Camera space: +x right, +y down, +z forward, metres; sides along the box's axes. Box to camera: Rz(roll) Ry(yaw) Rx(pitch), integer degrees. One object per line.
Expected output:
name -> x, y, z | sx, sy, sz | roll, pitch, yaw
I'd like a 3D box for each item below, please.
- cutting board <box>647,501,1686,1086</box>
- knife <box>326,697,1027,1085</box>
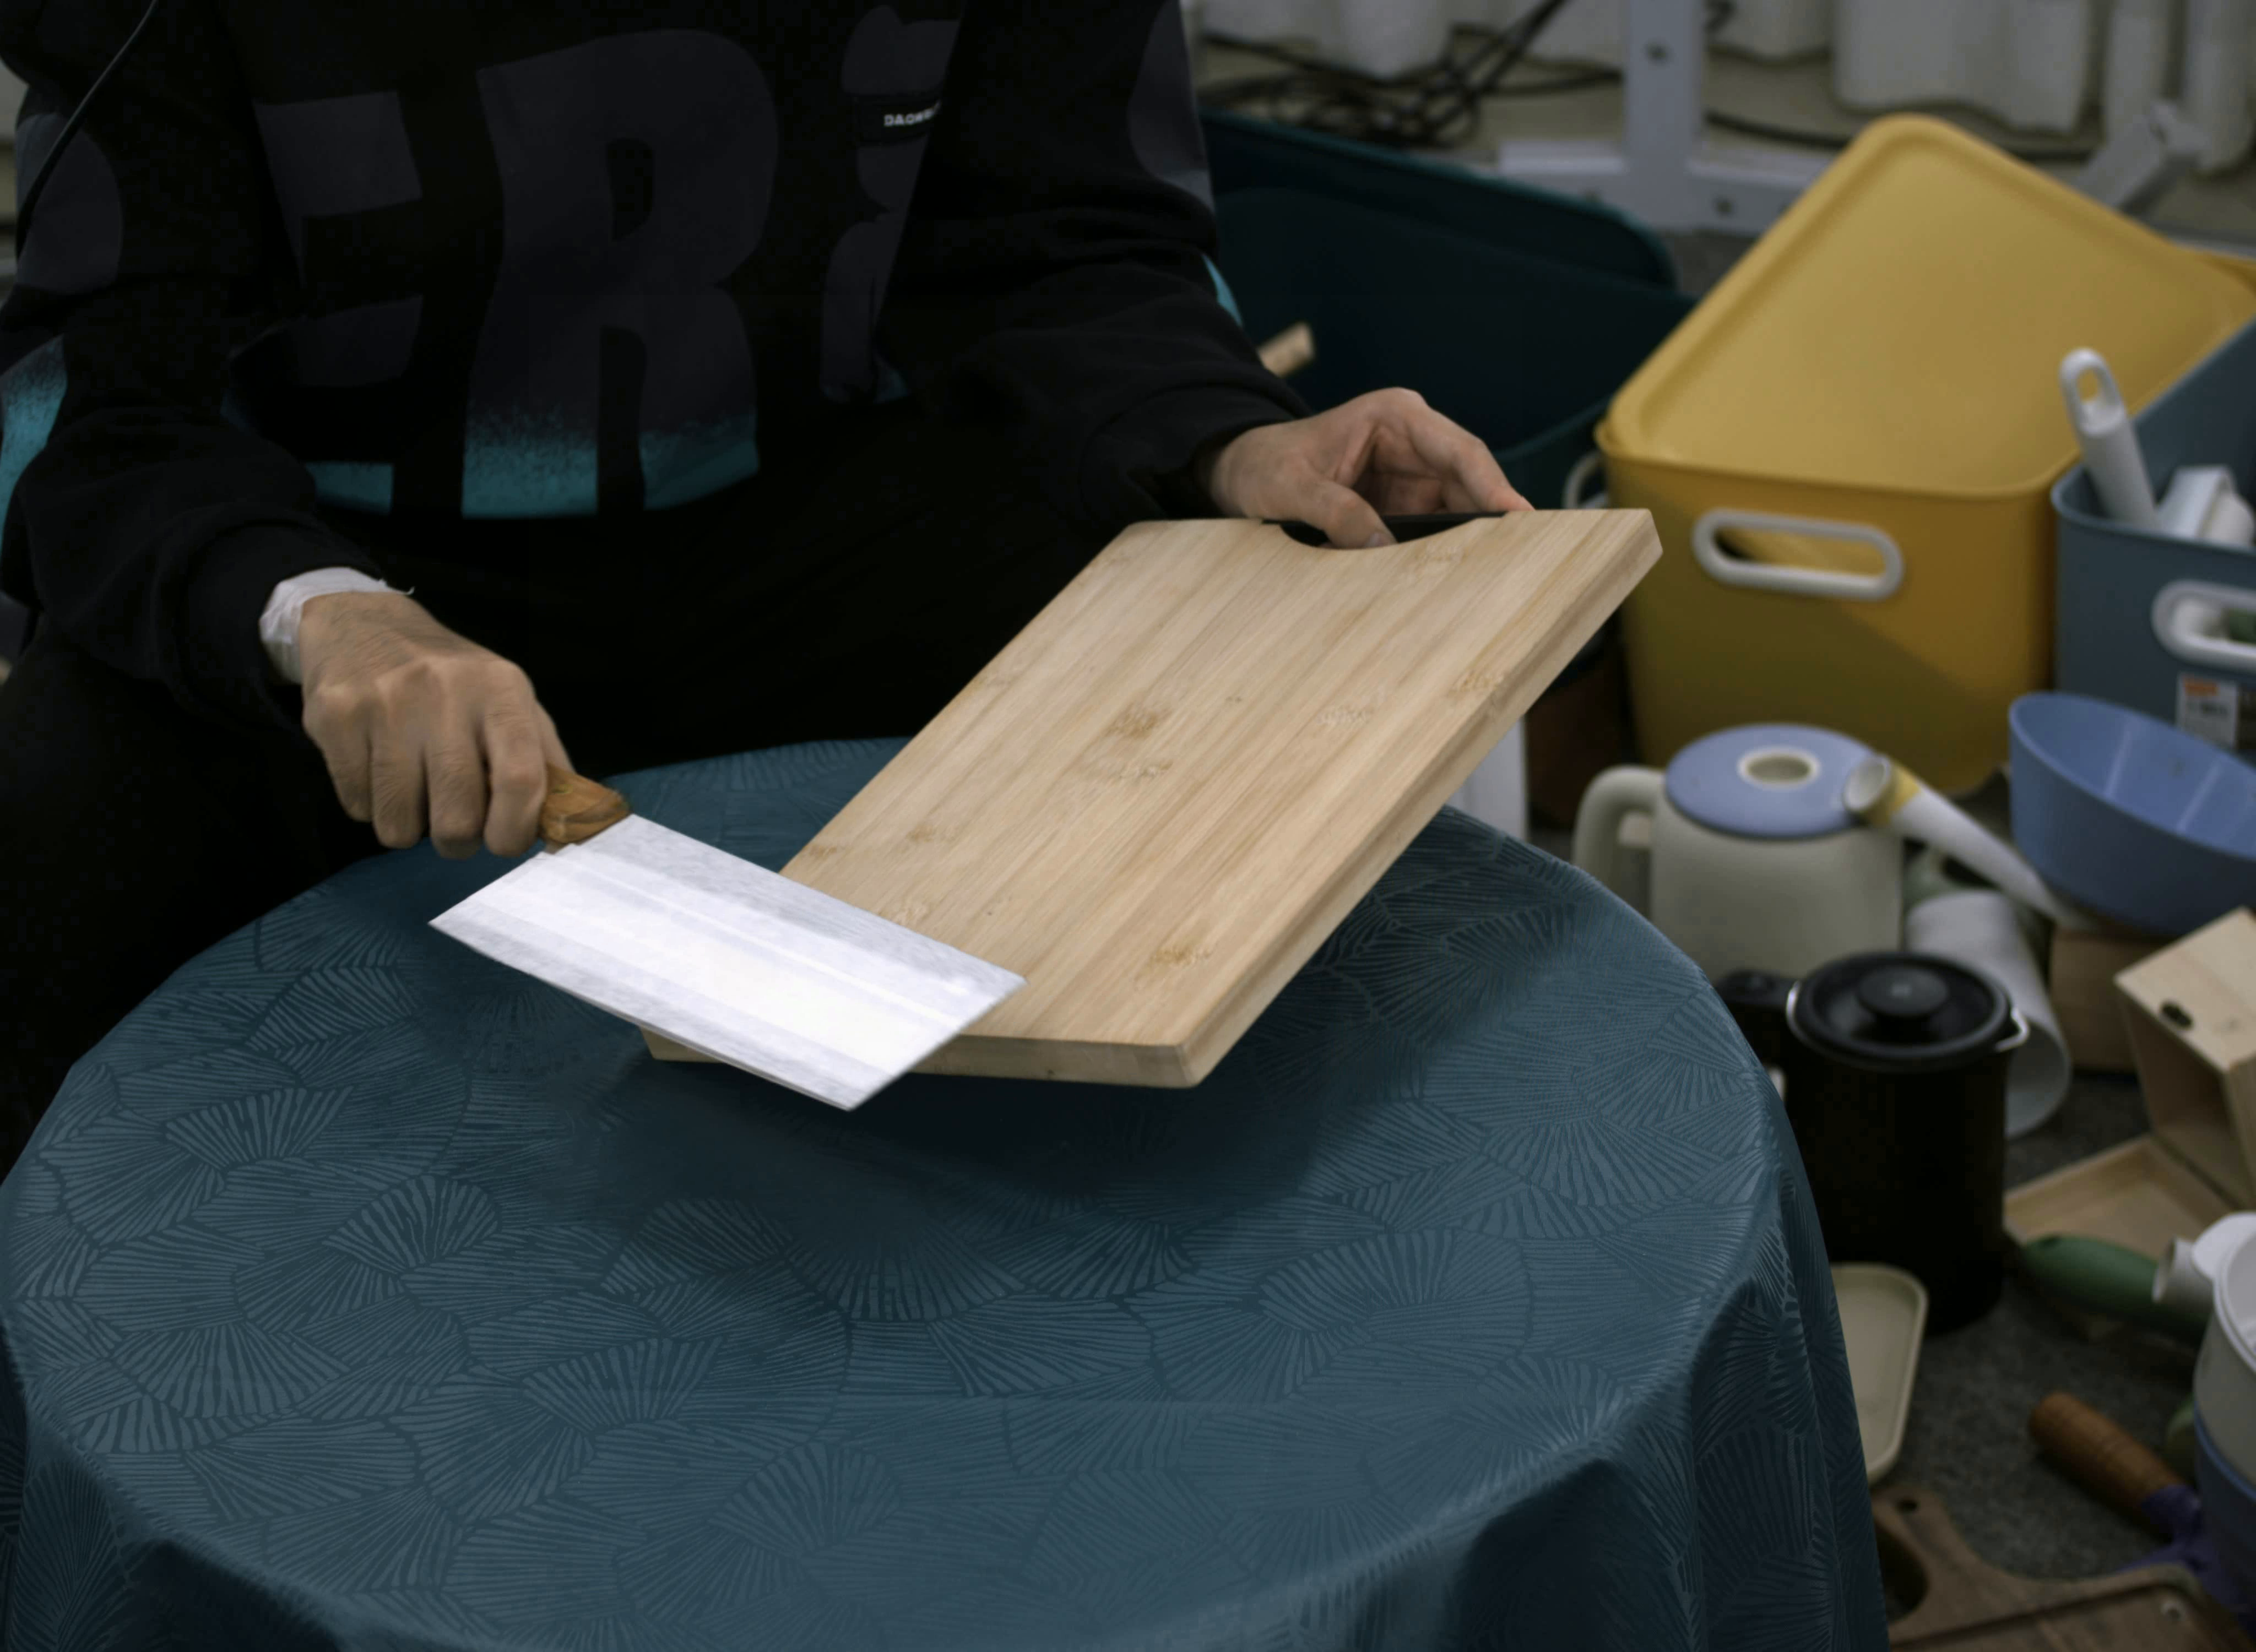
cutting board -> 0.016, -0.018, 2.000 | 0.248, 0.023, 0.355 | 0, 33, 36
knife -> -0.173, 0.024, 1.882 | 0.305, 0.021, 0.094 | 22, 39, 34
